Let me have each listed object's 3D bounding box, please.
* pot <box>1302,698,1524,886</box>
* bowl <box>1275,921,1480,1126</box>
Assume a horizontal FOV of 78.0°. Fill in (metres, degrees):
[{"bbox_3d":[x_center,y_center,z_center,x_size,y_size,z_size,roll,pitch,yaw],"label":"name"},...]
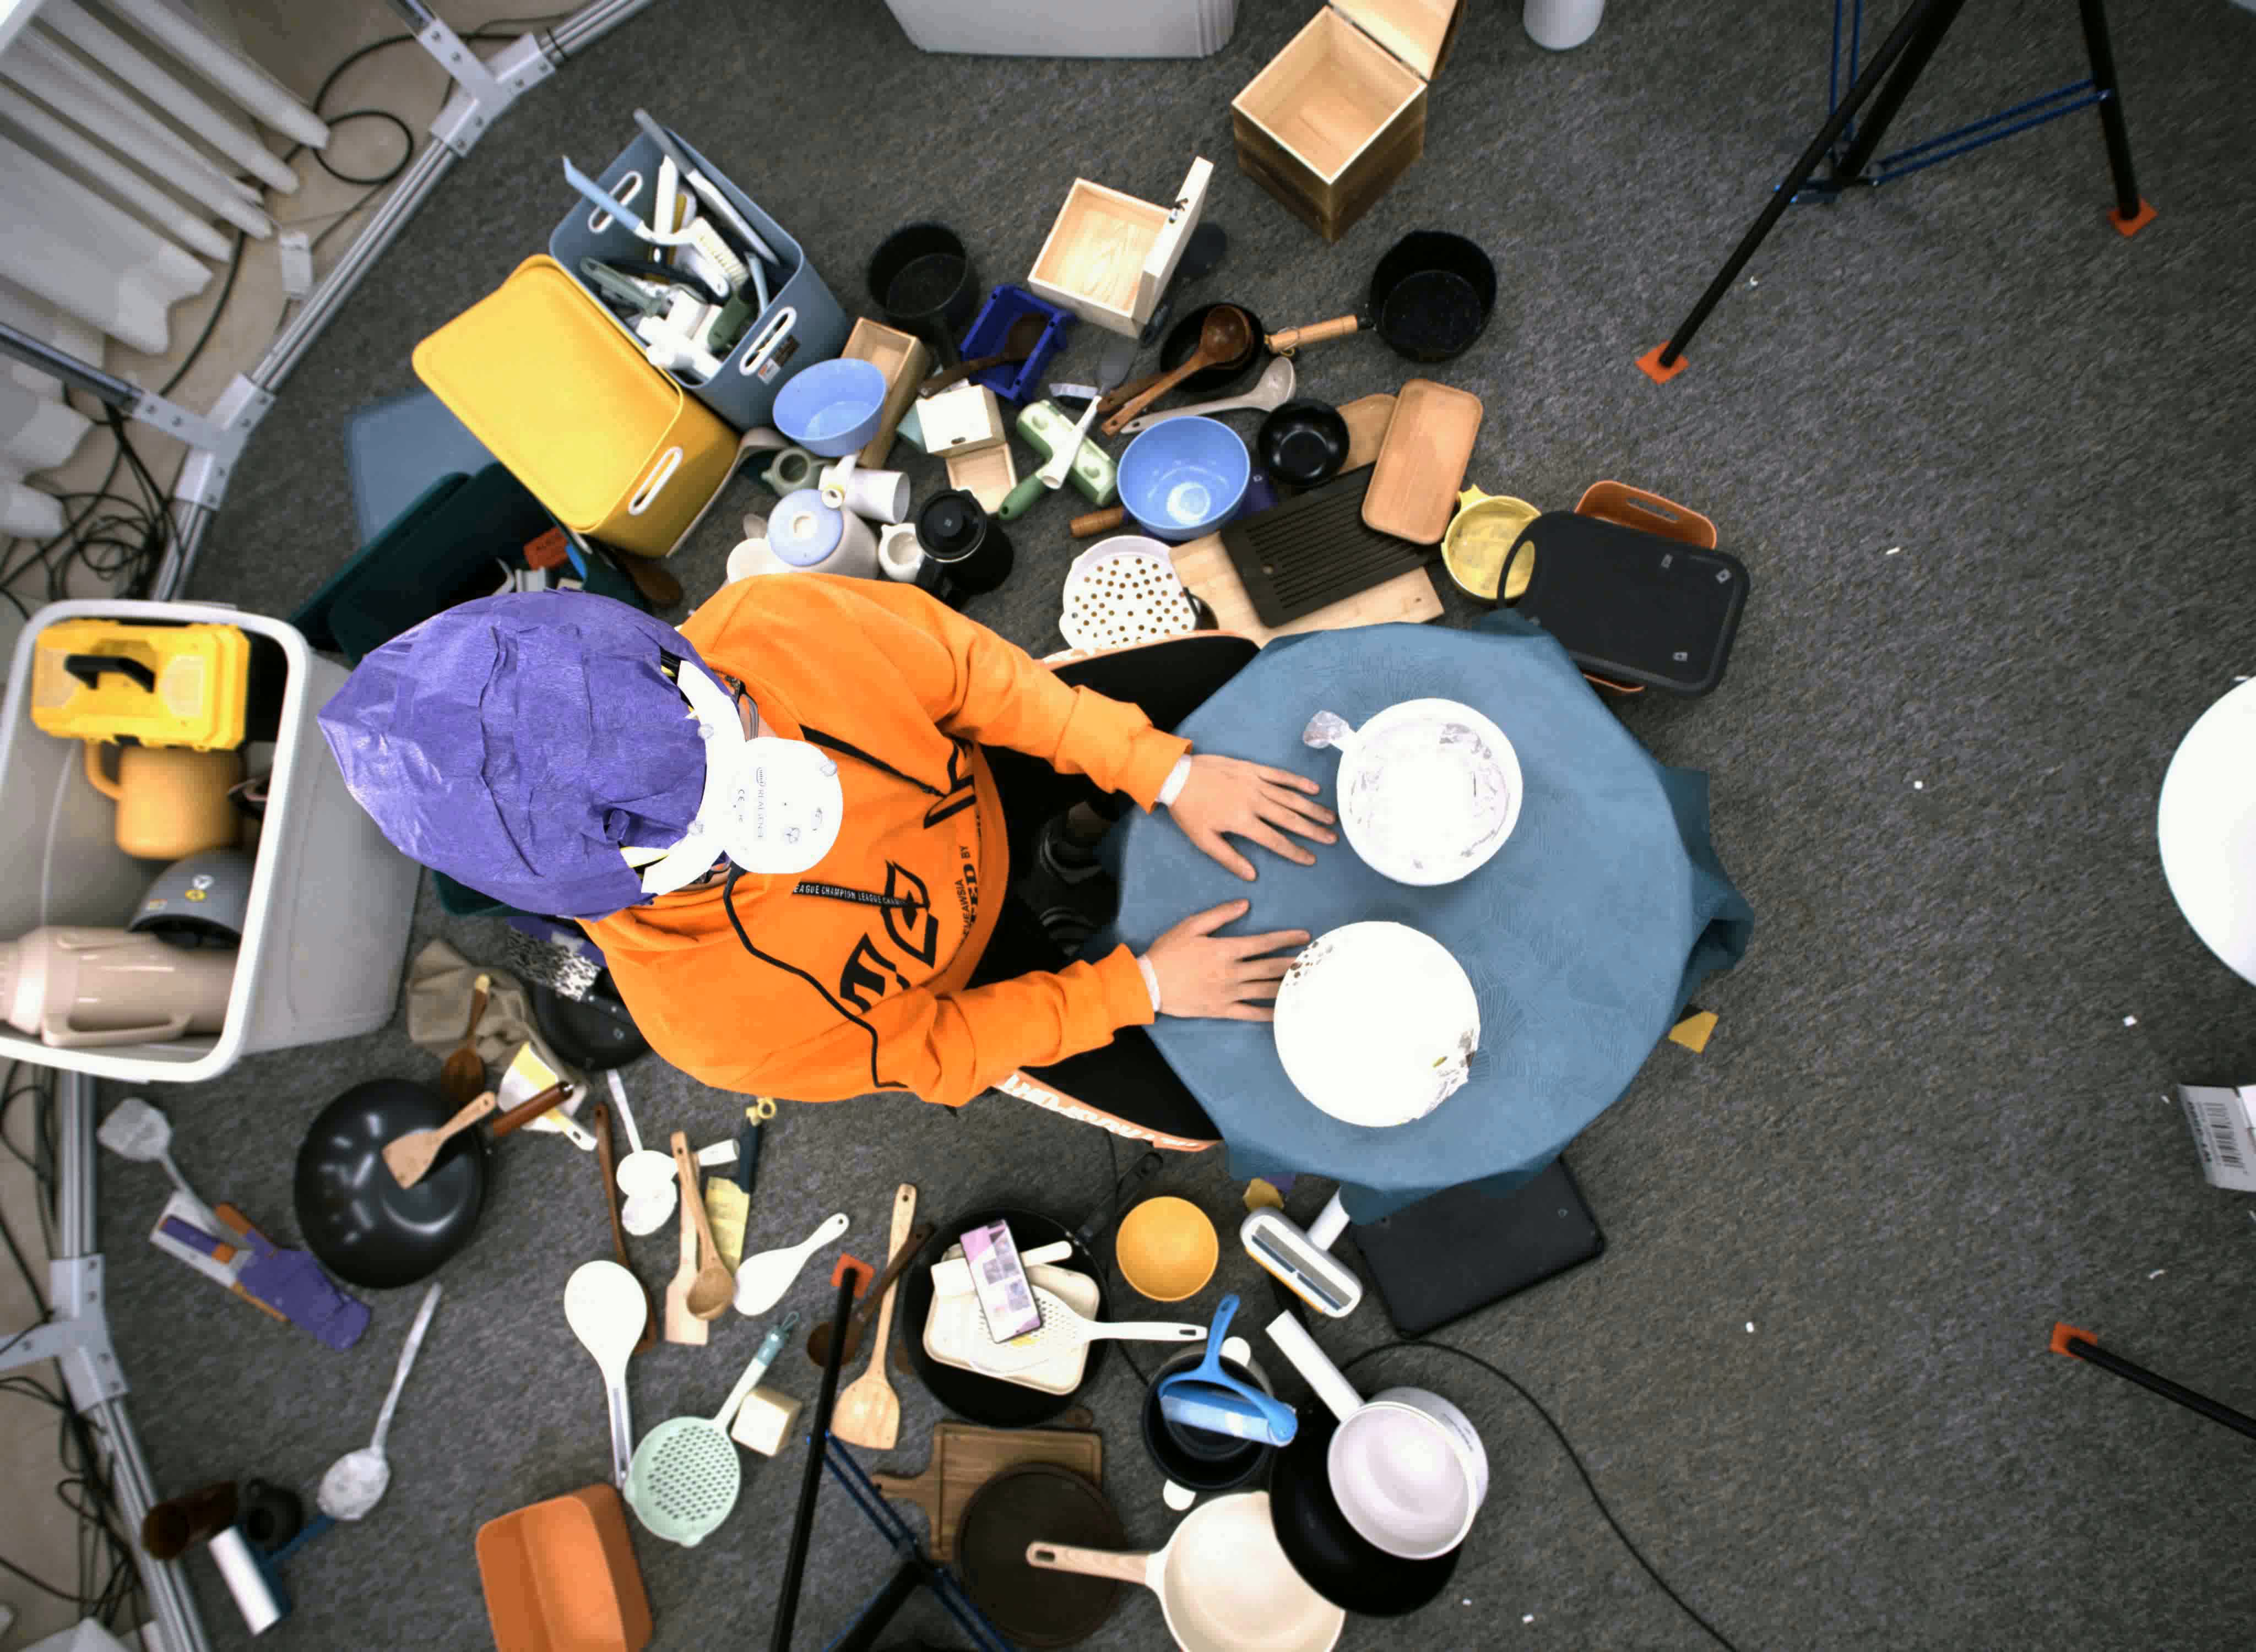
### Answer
[{"bbox_3d":[0.278,-0.046,1.395,0.233,0.137,0.179,33,92,11],"label":"pot"},{"bbox_3d":[0.256,0.199,1.417,0.205,0.078,0.203,-1,86,12],"label":"bowl"}]
